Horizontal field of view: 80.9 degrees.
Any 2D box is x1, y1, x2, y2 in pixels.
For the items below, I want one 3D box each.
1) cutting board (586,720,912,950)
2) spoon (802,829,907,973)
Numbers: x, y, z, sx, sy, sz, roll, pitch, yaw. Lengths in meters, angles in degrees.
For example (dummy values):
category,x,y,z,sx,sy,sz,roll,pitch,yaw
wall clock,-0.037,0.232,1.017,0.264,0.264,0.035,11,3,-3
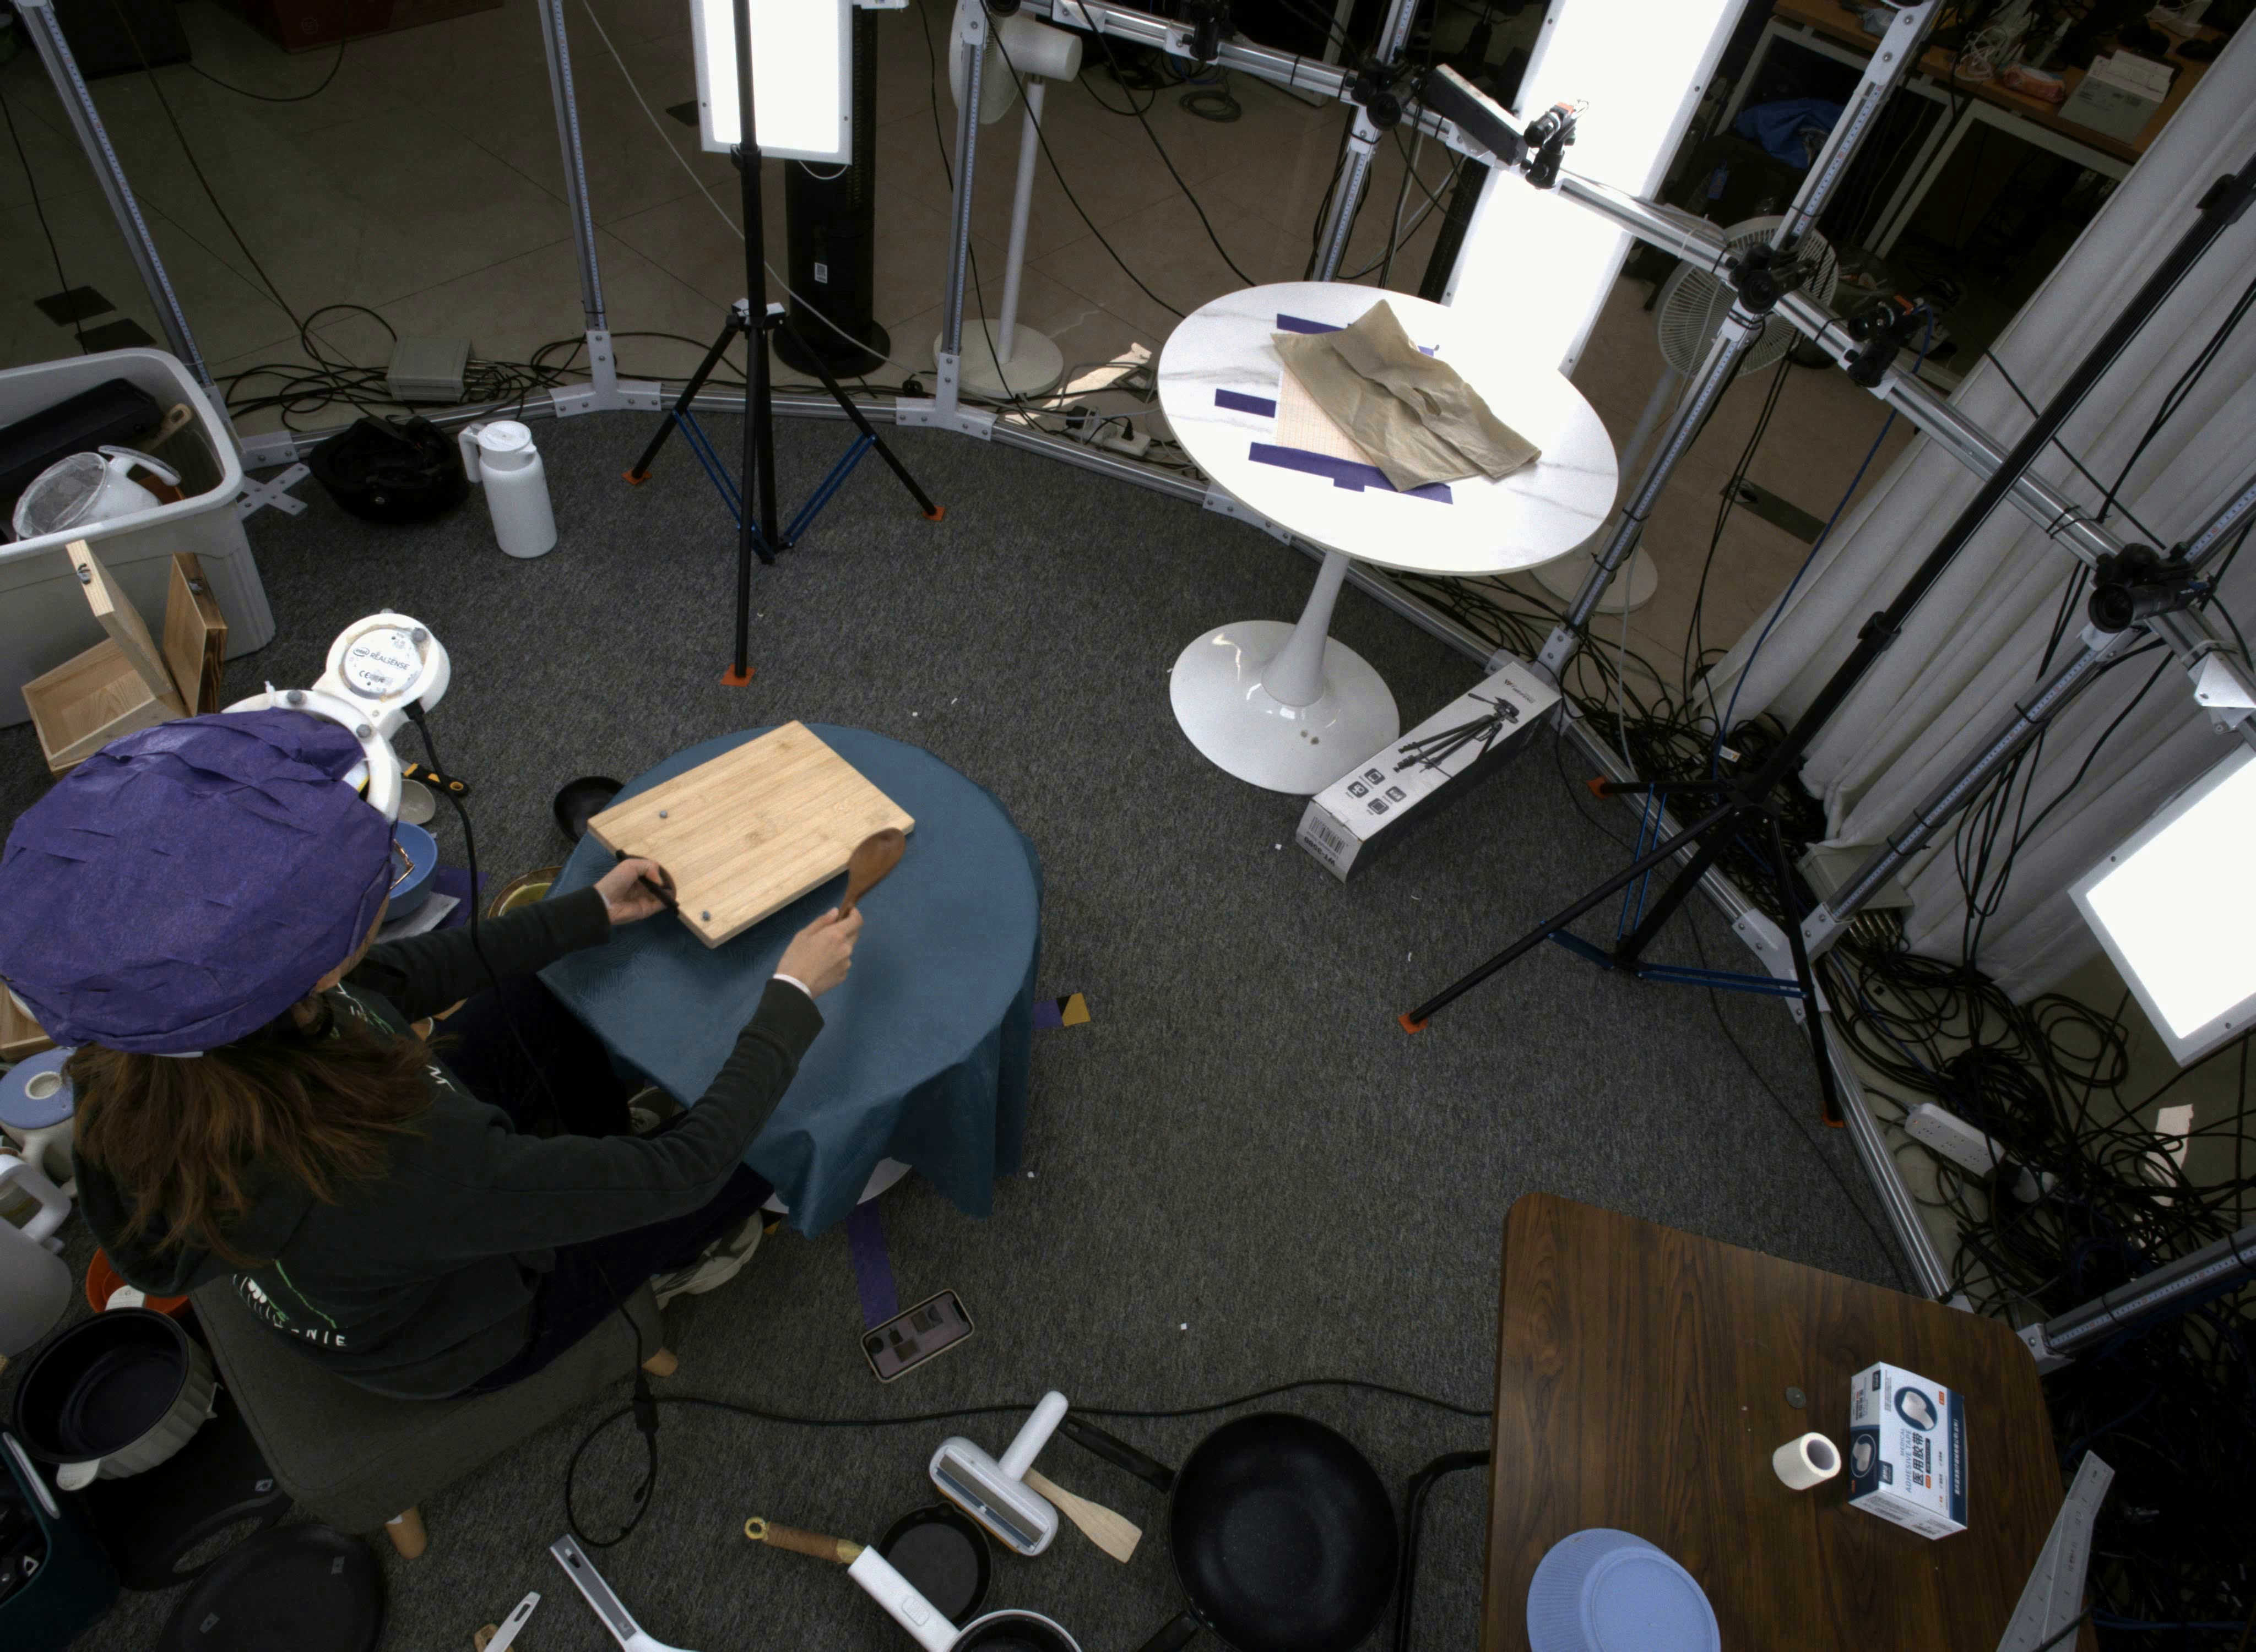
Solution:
category,x,y,z,sx,sy,sz,roll,pitch,yaw
cutting board,-0.481,-0.001,1.663,0.245,0.024,0.349,38,43,15
spoon,-0.321,0.083,1.510,0.073,0.018,0.214,3,47,27
